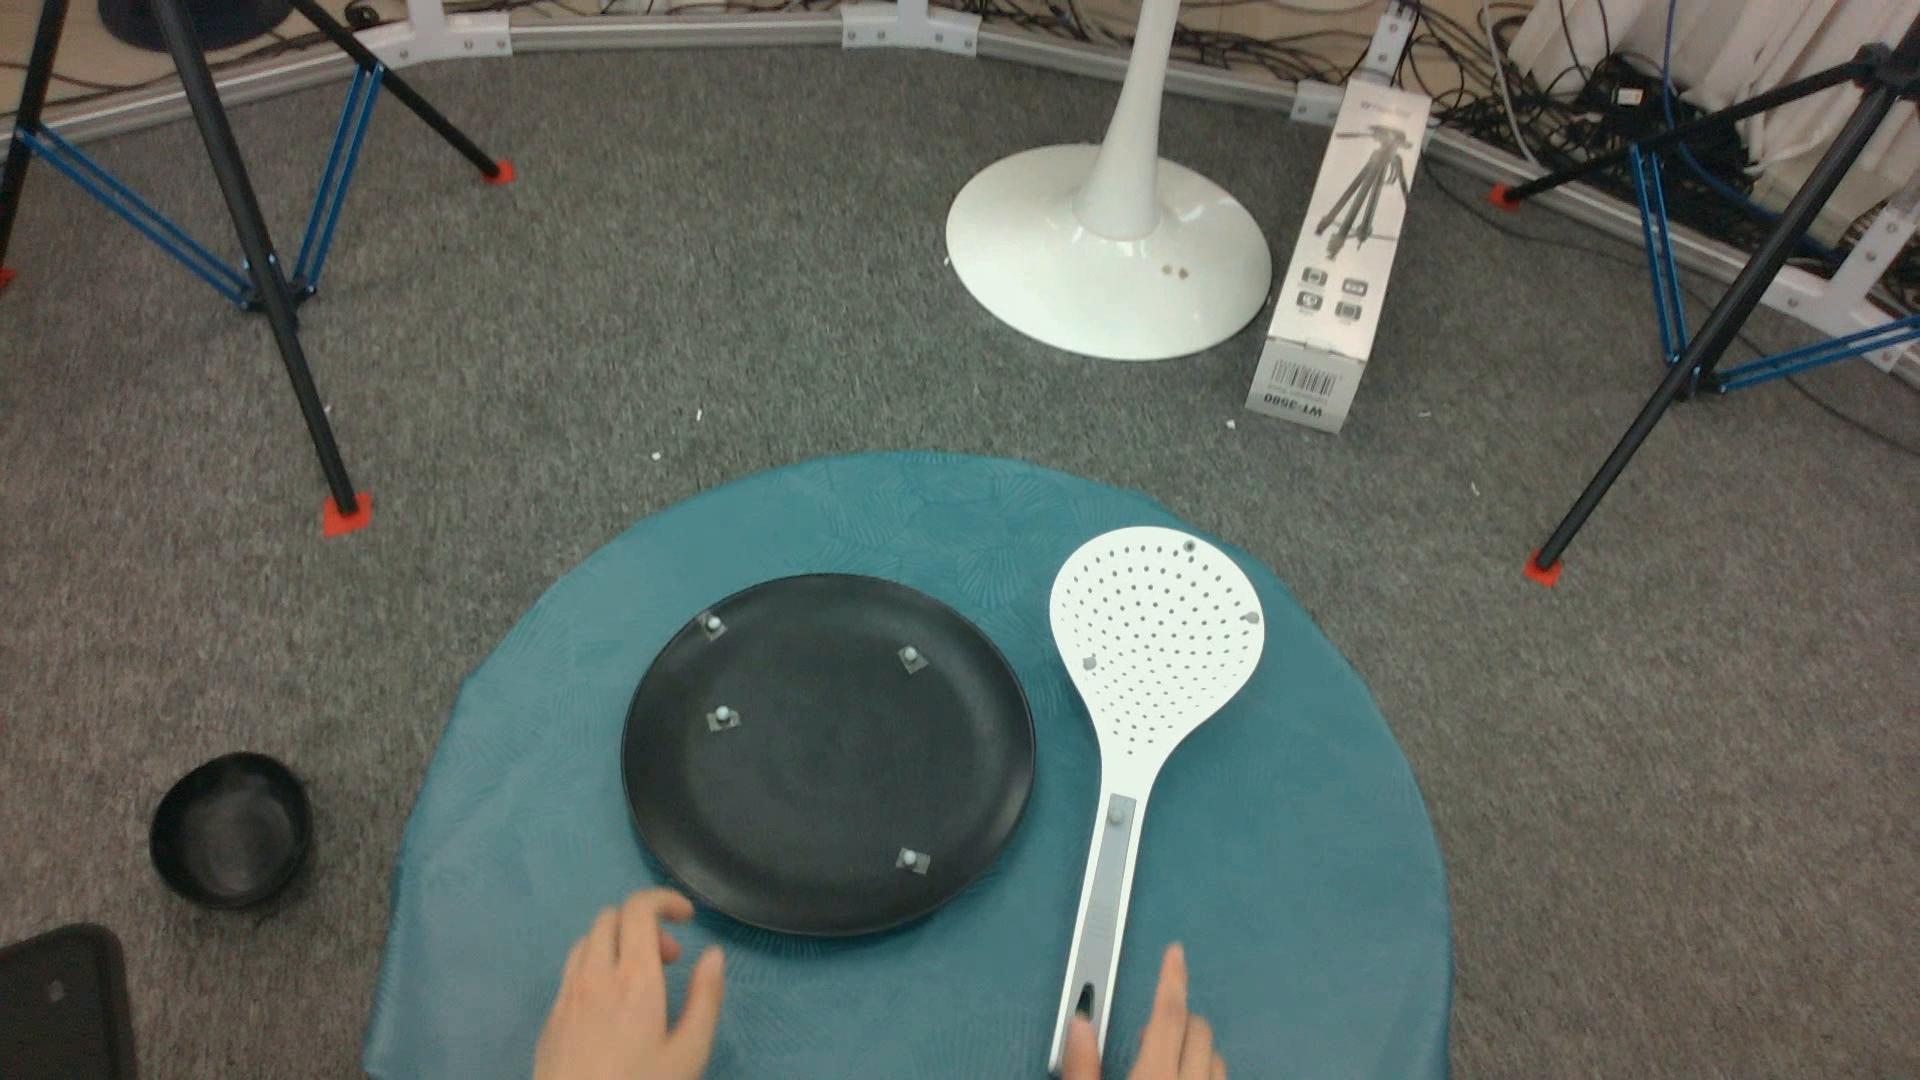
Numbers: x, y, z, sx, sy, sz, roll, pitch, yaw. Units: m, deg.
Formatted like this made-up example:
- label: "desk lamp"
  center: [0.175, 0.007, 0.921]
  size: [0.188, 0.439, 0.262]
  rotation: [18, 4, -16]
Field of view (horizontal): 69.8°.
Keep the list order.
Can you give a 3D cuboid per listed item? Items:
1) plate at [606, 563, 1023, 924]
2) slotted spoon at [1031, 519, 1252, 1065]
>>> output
- label: "plate"
  center: [-0.084, 0.115, 0.817]
  size: [0.244, 0.023, 0.245]
  rotation: [4, 50, -5]
- label: "slotted spoon"
  center: [0.091, 0.132, 0.814]
  size: [0.136, 0.045, 0.351]
  rotation: [13, 51, 5]
